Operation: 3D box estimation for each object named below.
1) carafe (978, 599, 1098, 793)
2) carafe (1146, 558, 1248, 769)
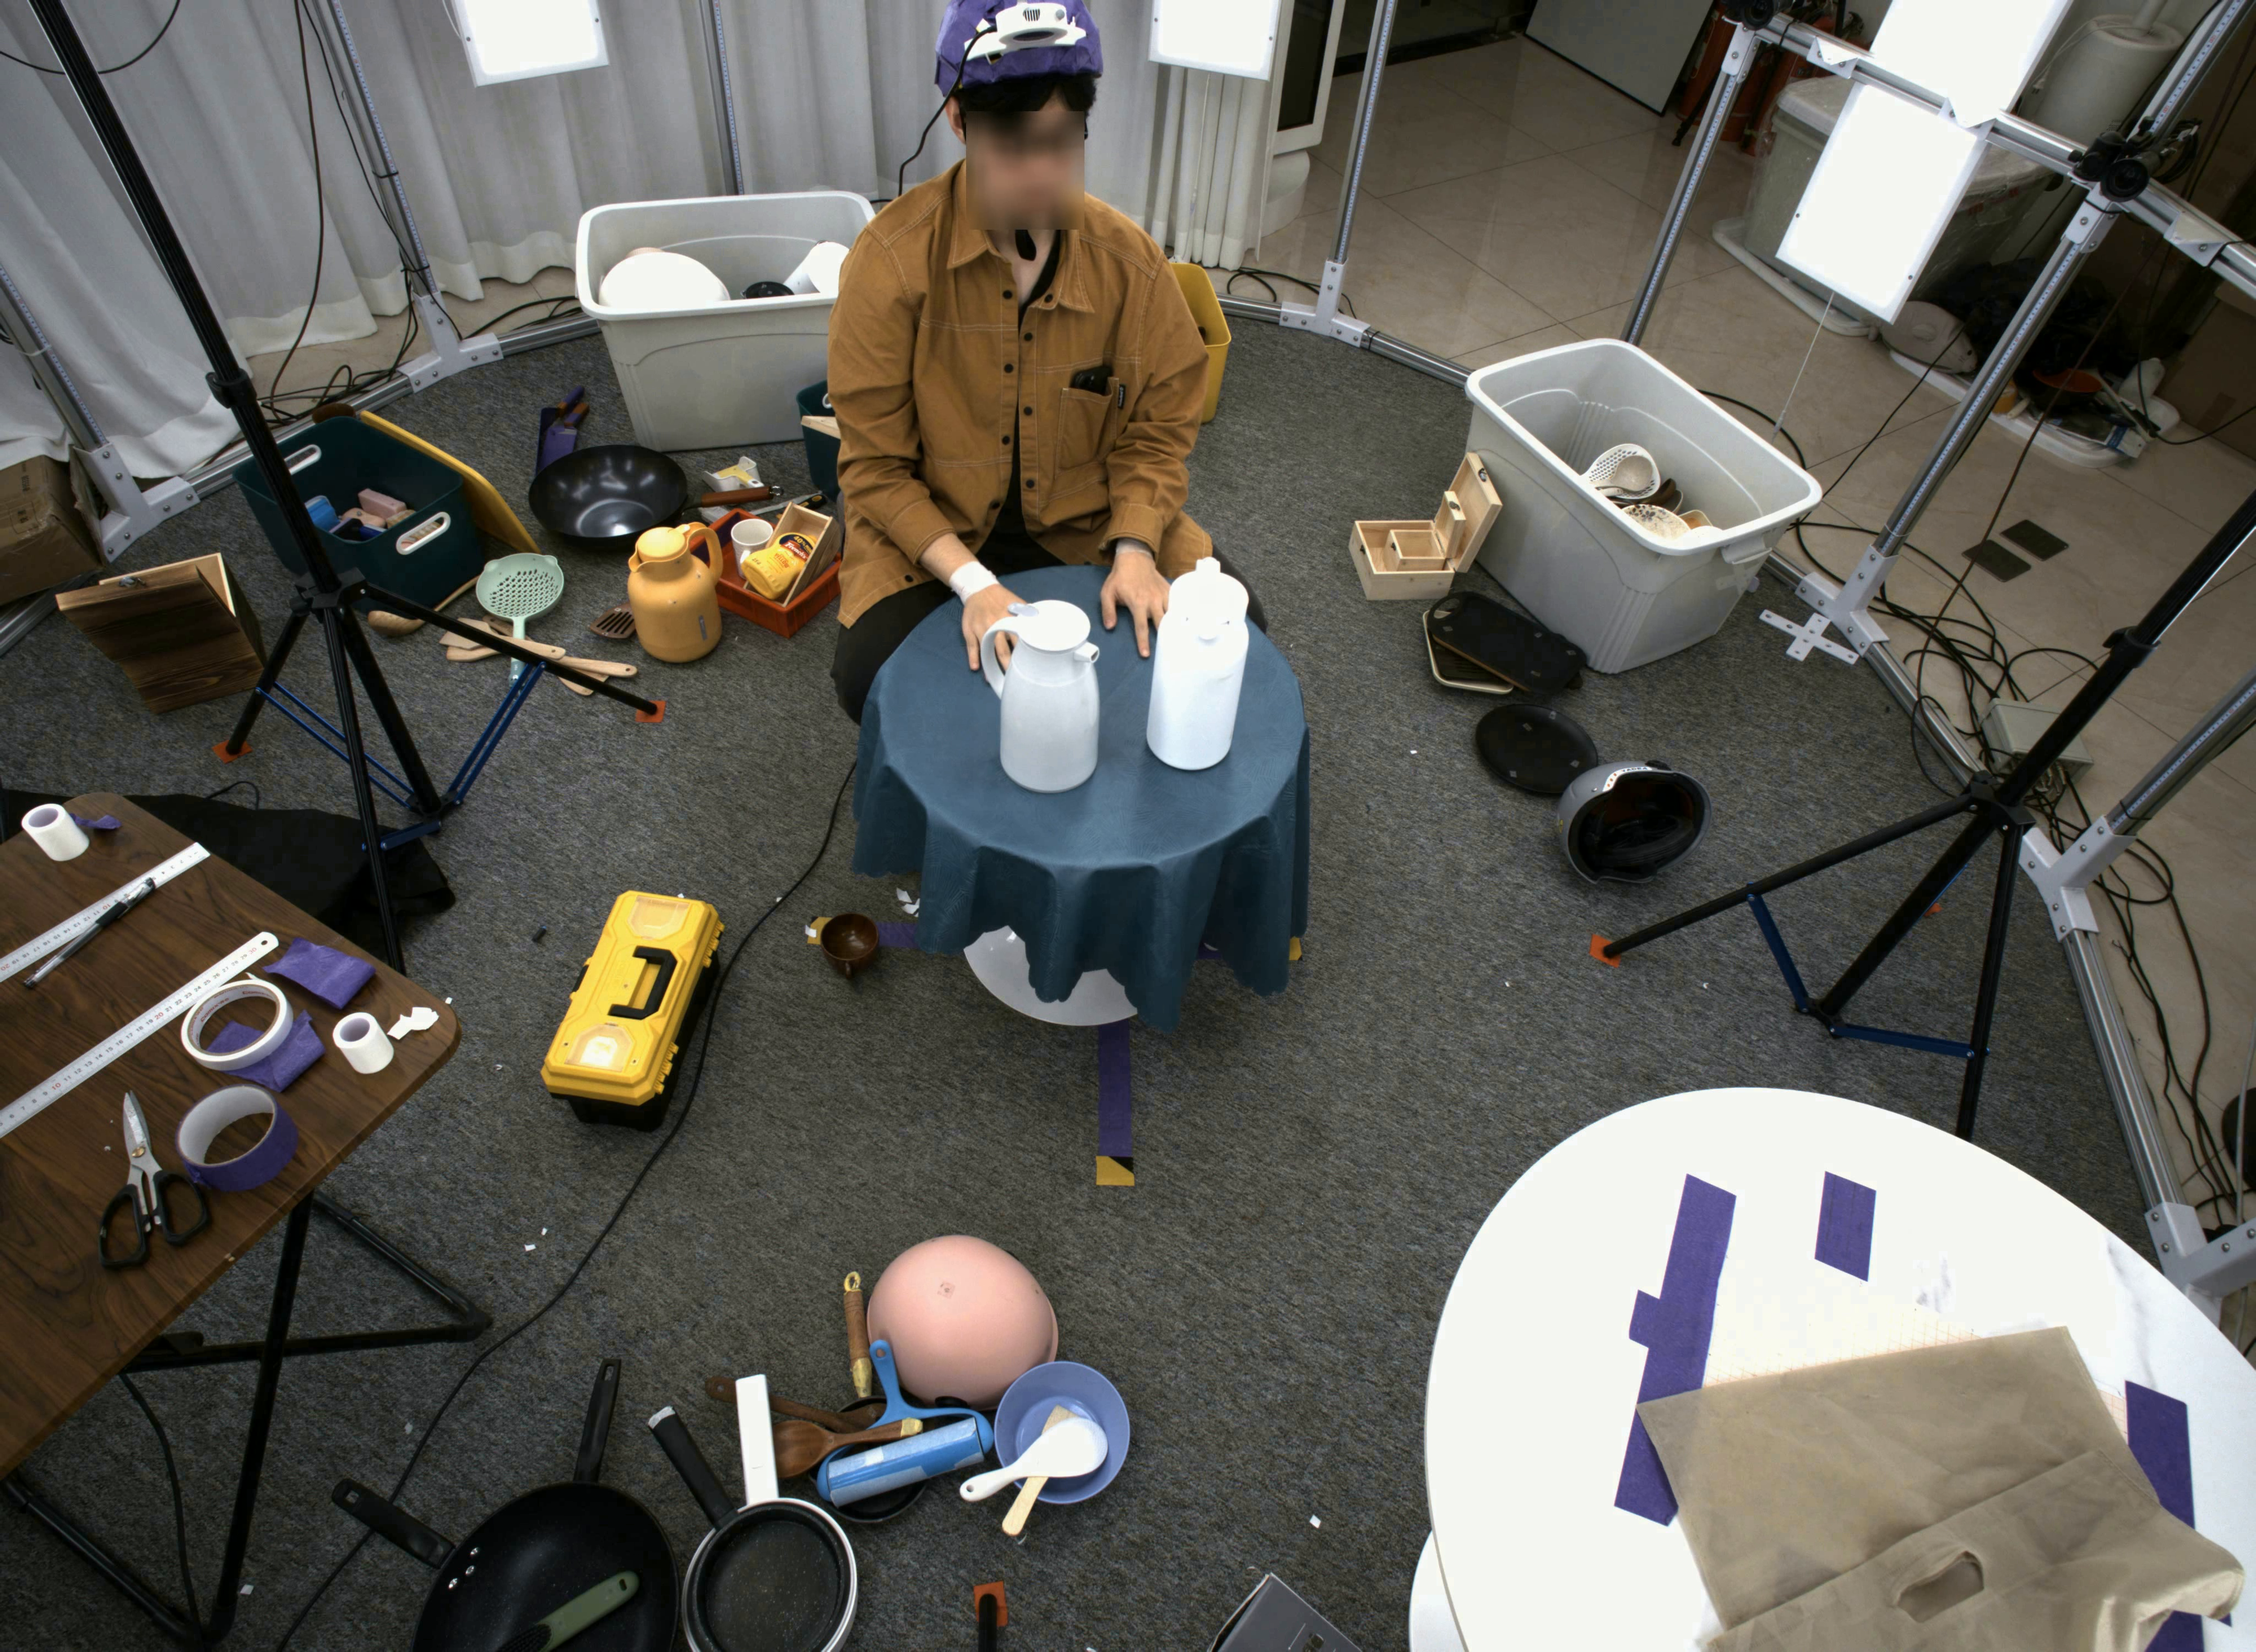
[{"bbox_3d":[-0.119,-0.179,1.657,0.169,0.242,0.134,25,52,18],"label":"carafe"},{"bbox_3d":[0.090,-0.215,1.689,0.124,0.262,0.177,3,49,1],"label":"carafe"}]
